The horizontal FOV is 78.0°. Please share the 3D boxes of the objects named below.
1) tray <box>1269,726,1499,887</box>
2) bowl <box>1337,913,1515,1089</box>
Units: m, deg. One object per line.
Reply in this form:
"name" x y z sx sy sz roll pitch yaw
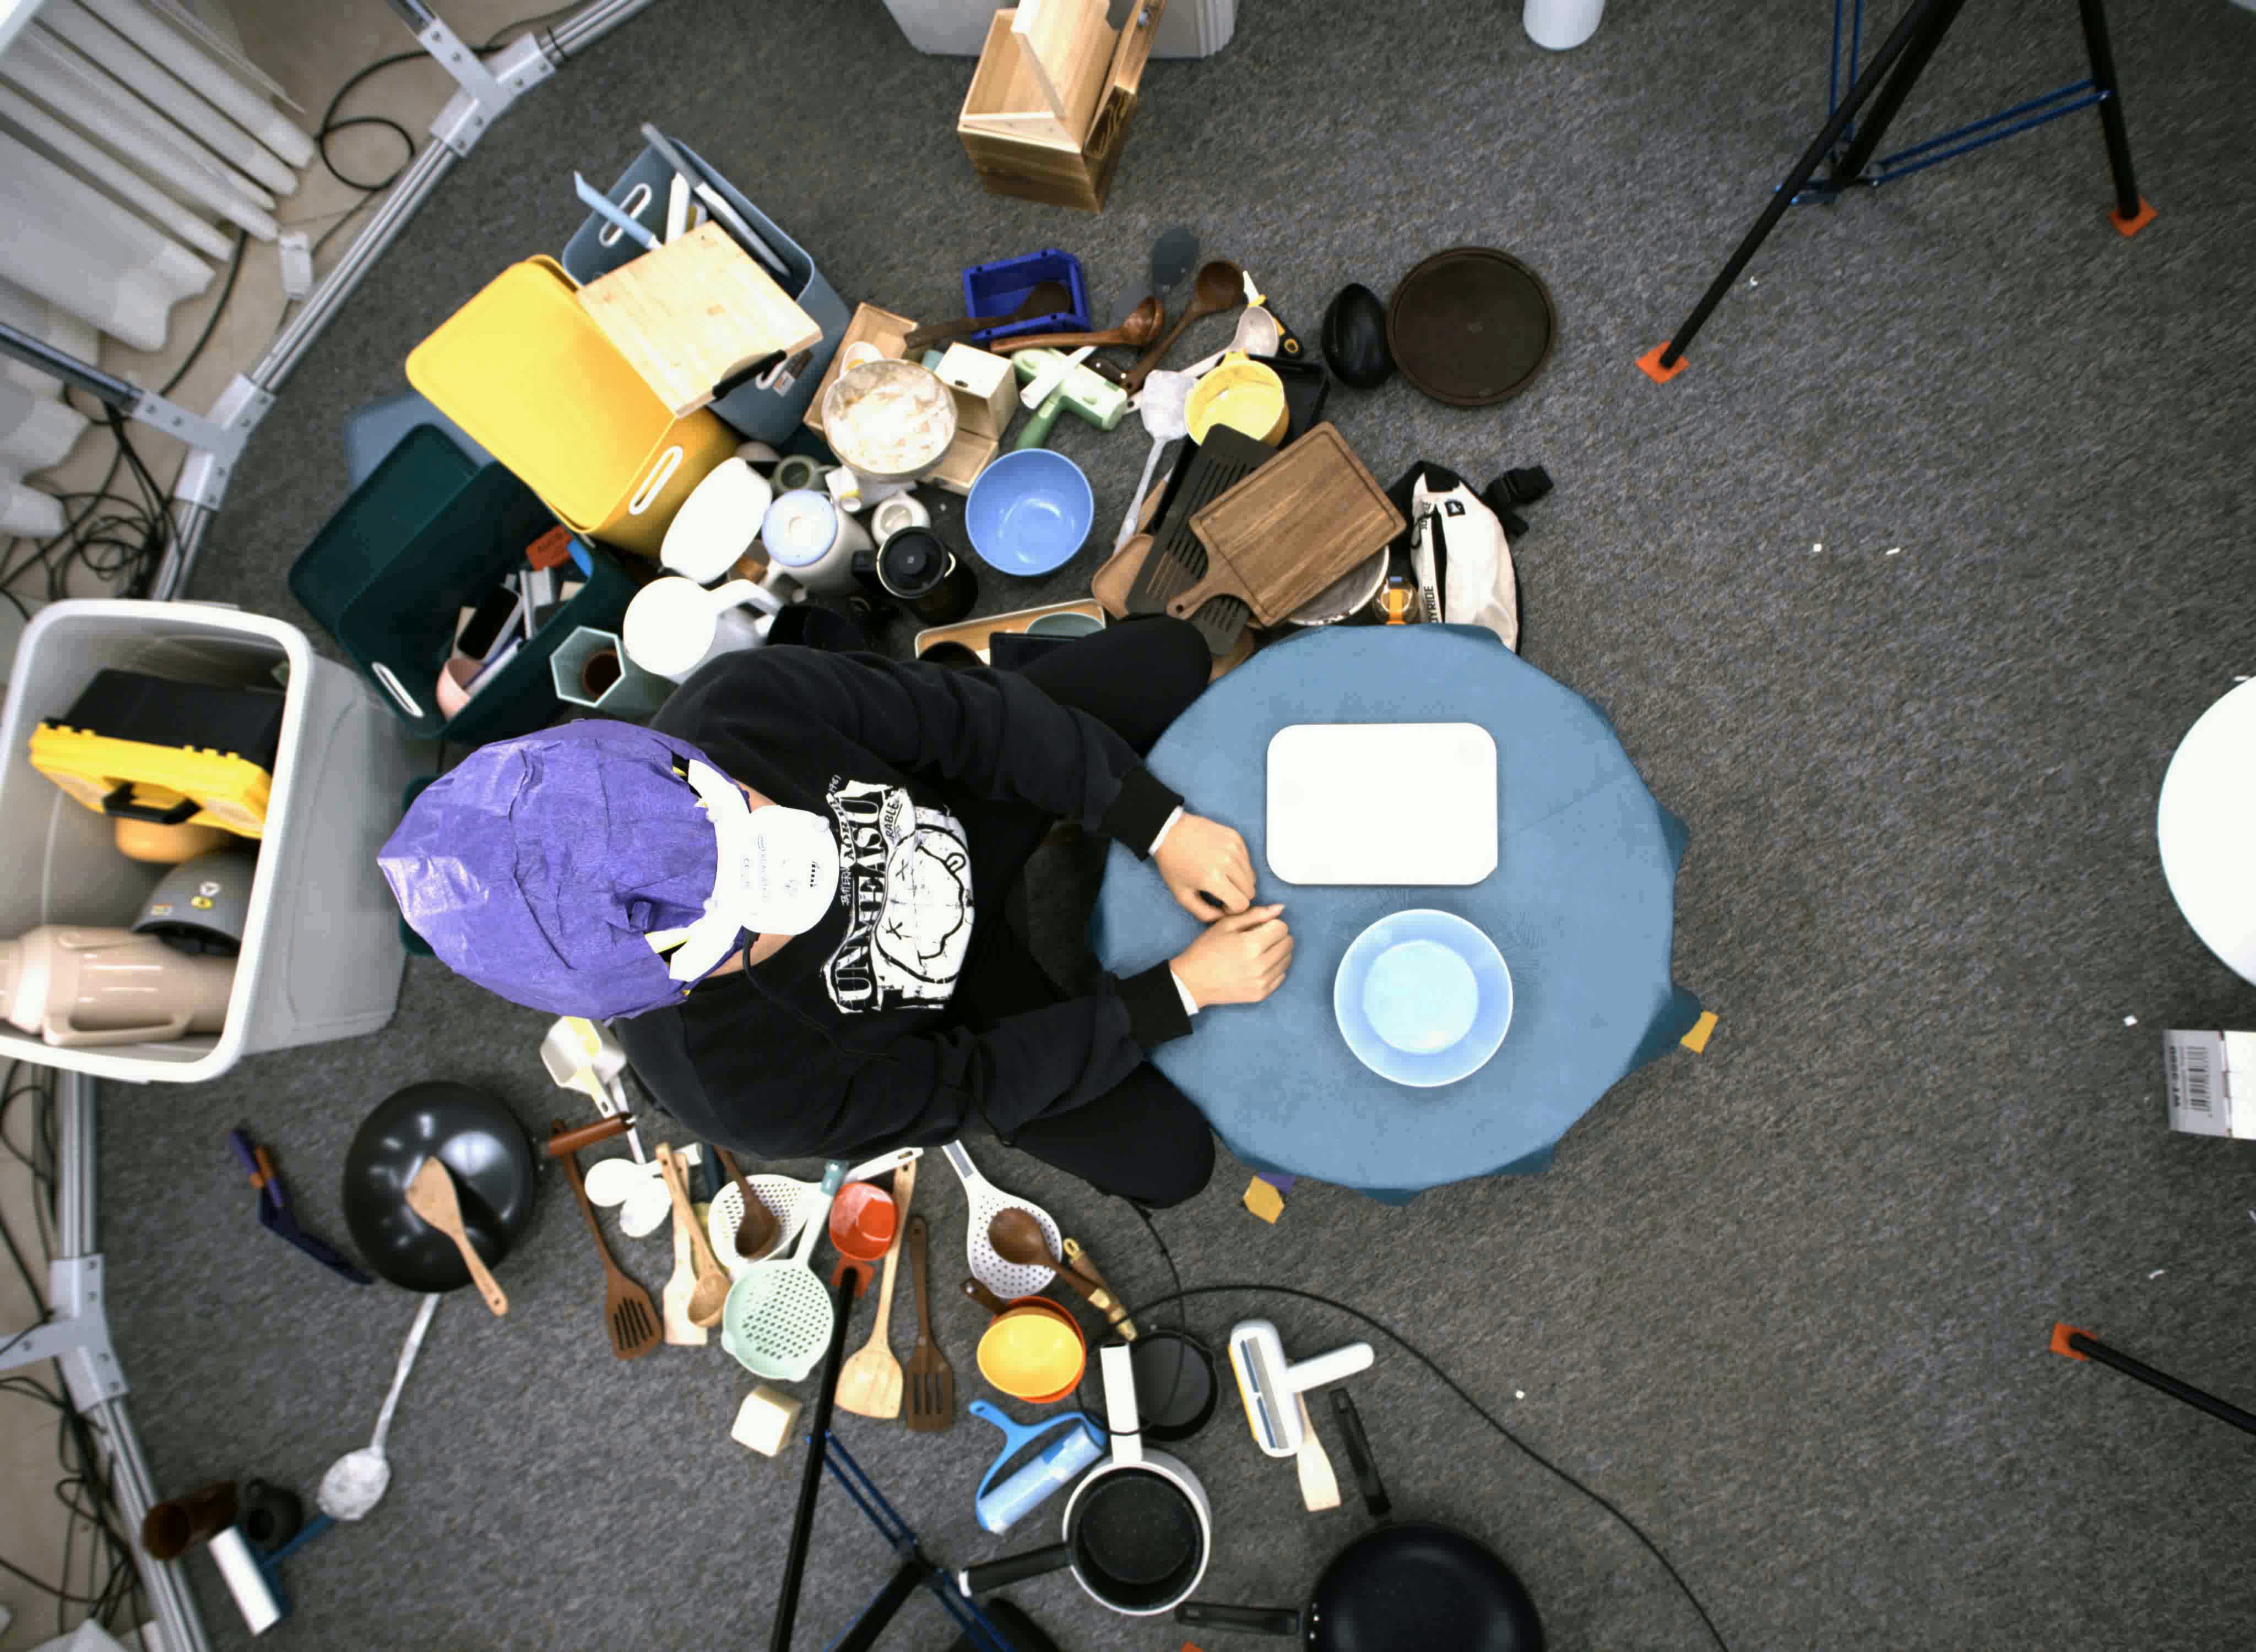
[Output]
"tray" 0.270 -0.021 1.462 0.240 0.017 0.170 0 85 10
"bowl" 0.303 0.178 1.415 0.177 0.070 0.175 -1 85 10
